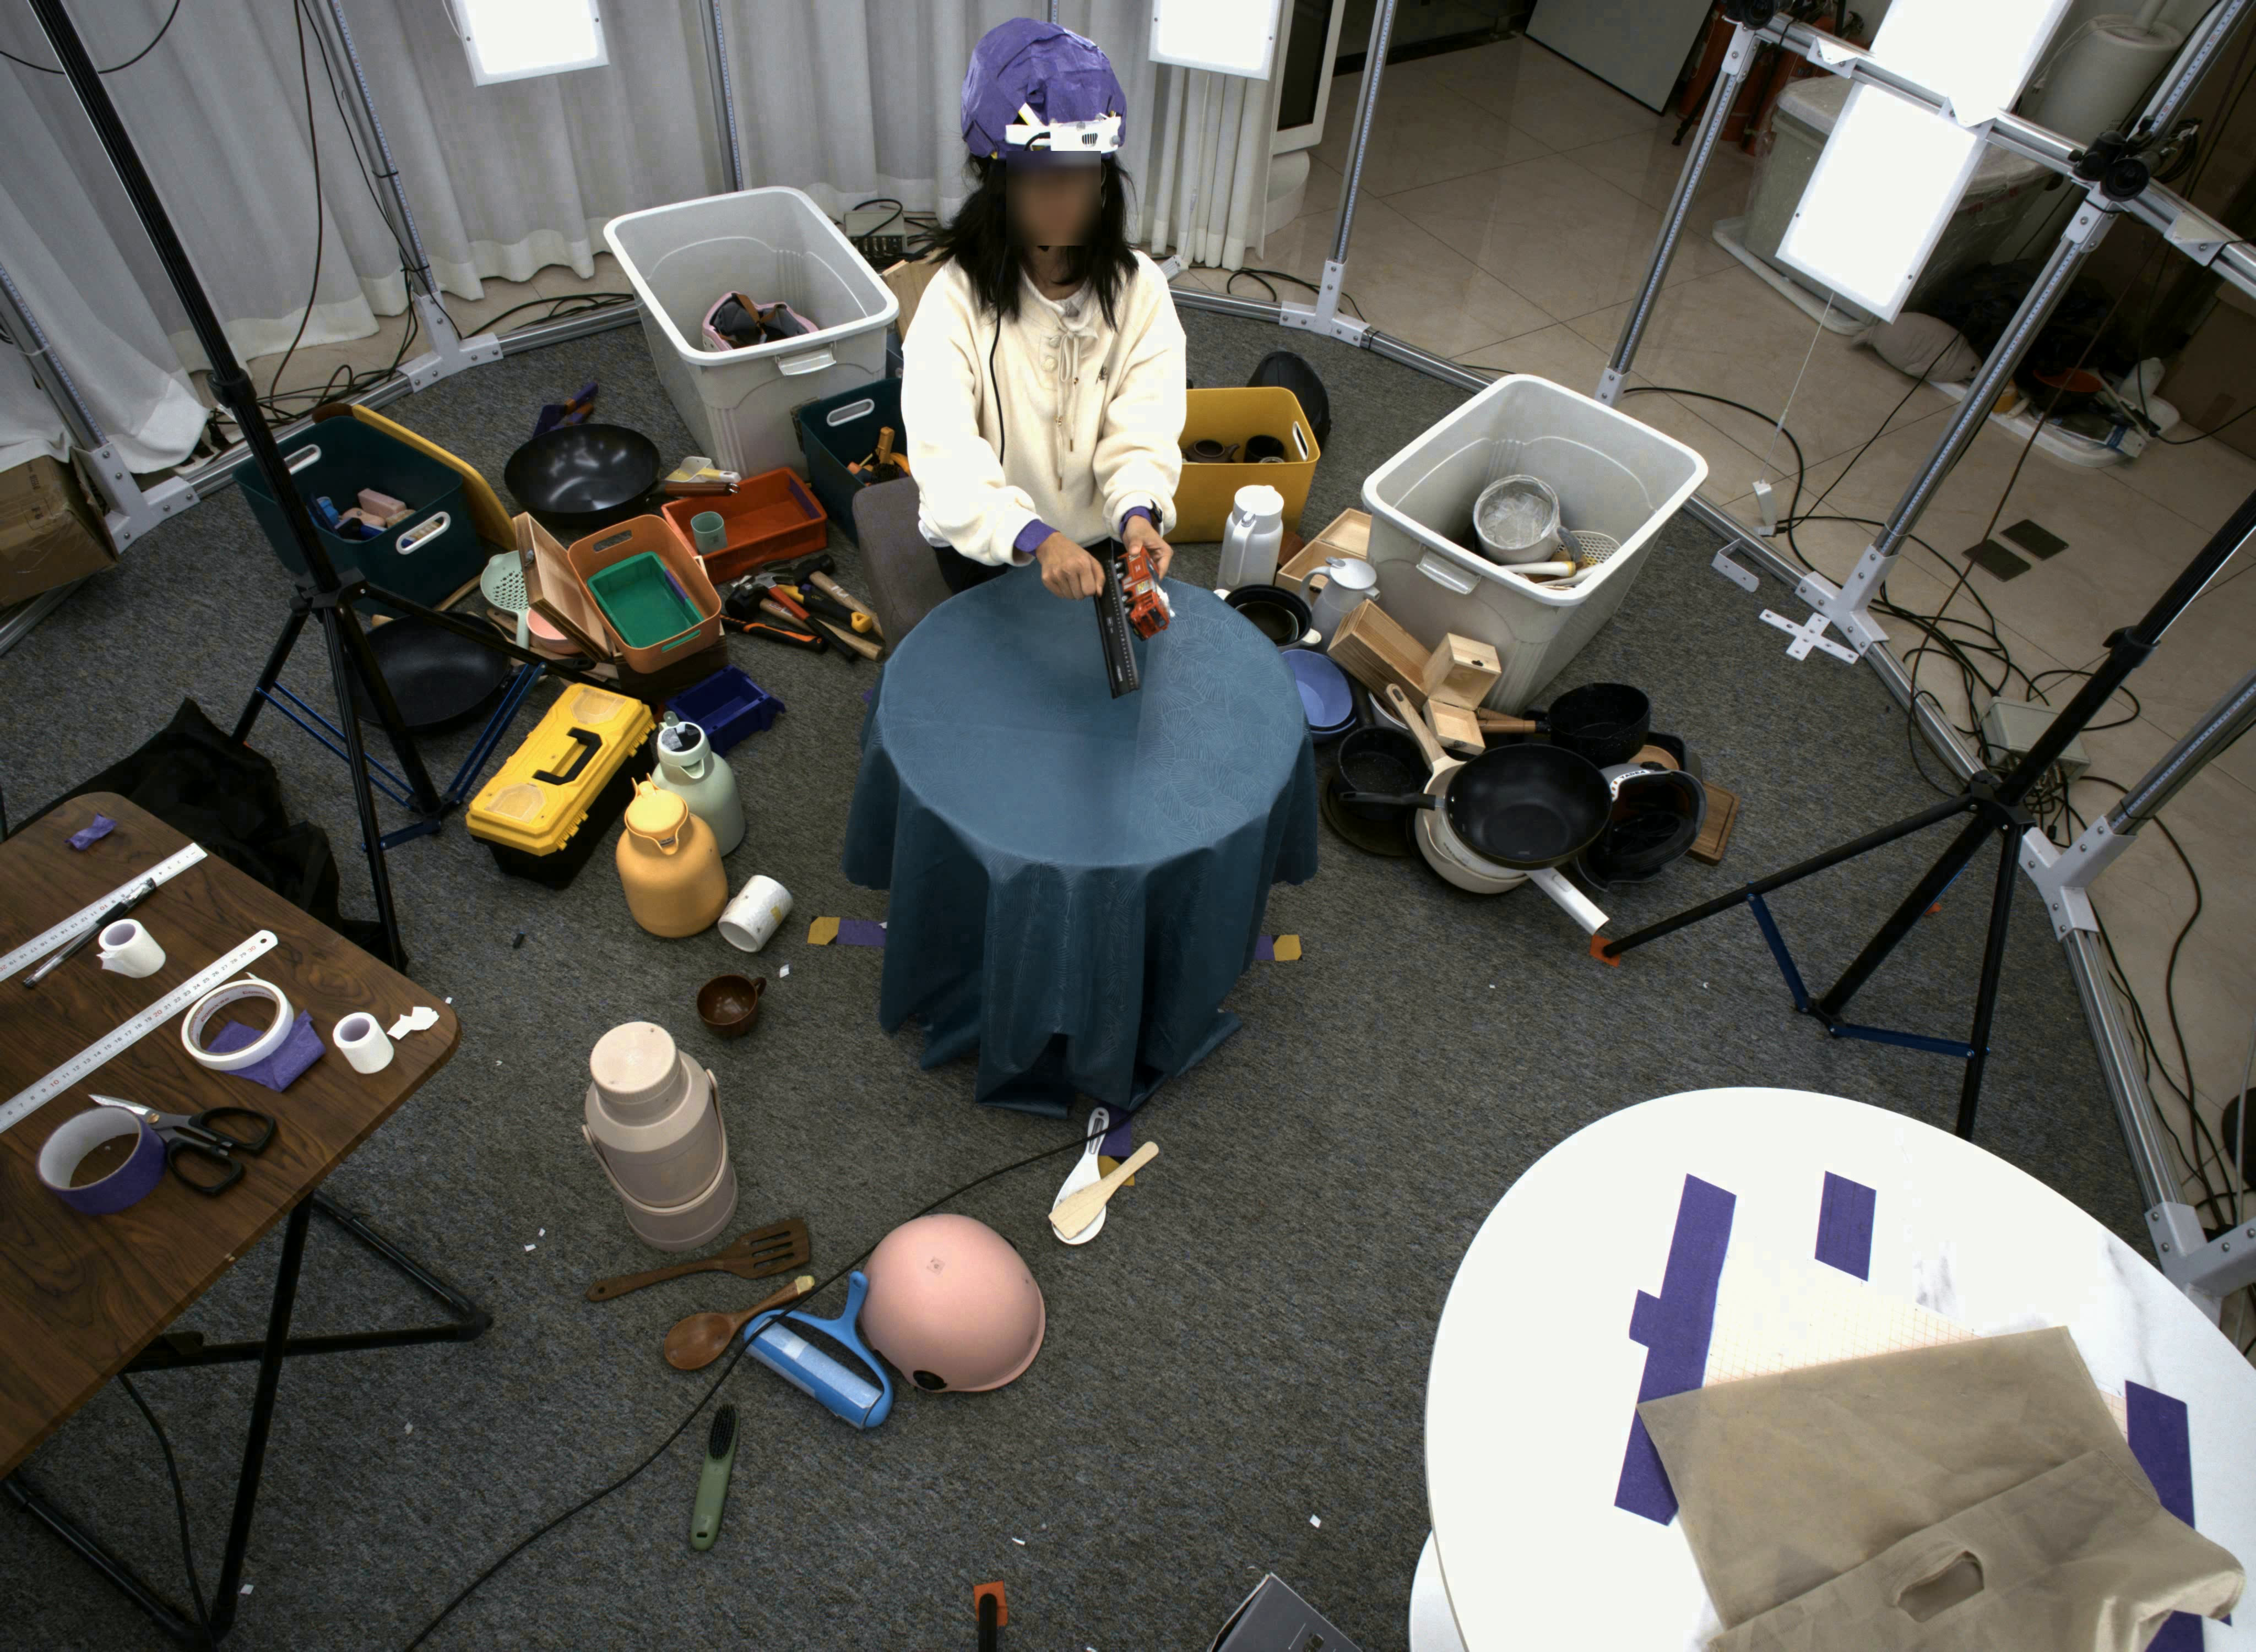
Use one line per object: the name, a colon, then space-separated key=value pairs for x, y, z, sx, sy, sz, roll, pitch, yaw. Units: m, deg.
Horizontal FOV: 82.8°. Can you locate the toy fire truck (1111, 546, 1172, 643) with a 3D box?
toy fire truck: x=0.019 y=-0.320 z=1.774 sx=0.070 sy=0.053 sz=0.172 roll=-28 pitch=38 yaw=15

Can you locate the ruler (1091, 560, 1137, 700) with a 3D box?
ruler: x=-0.022 y=-0.271 z=1.705 sx=0.039 sy=0.017 sz=0.320 roll=-17 pitch=41 yaw=8
